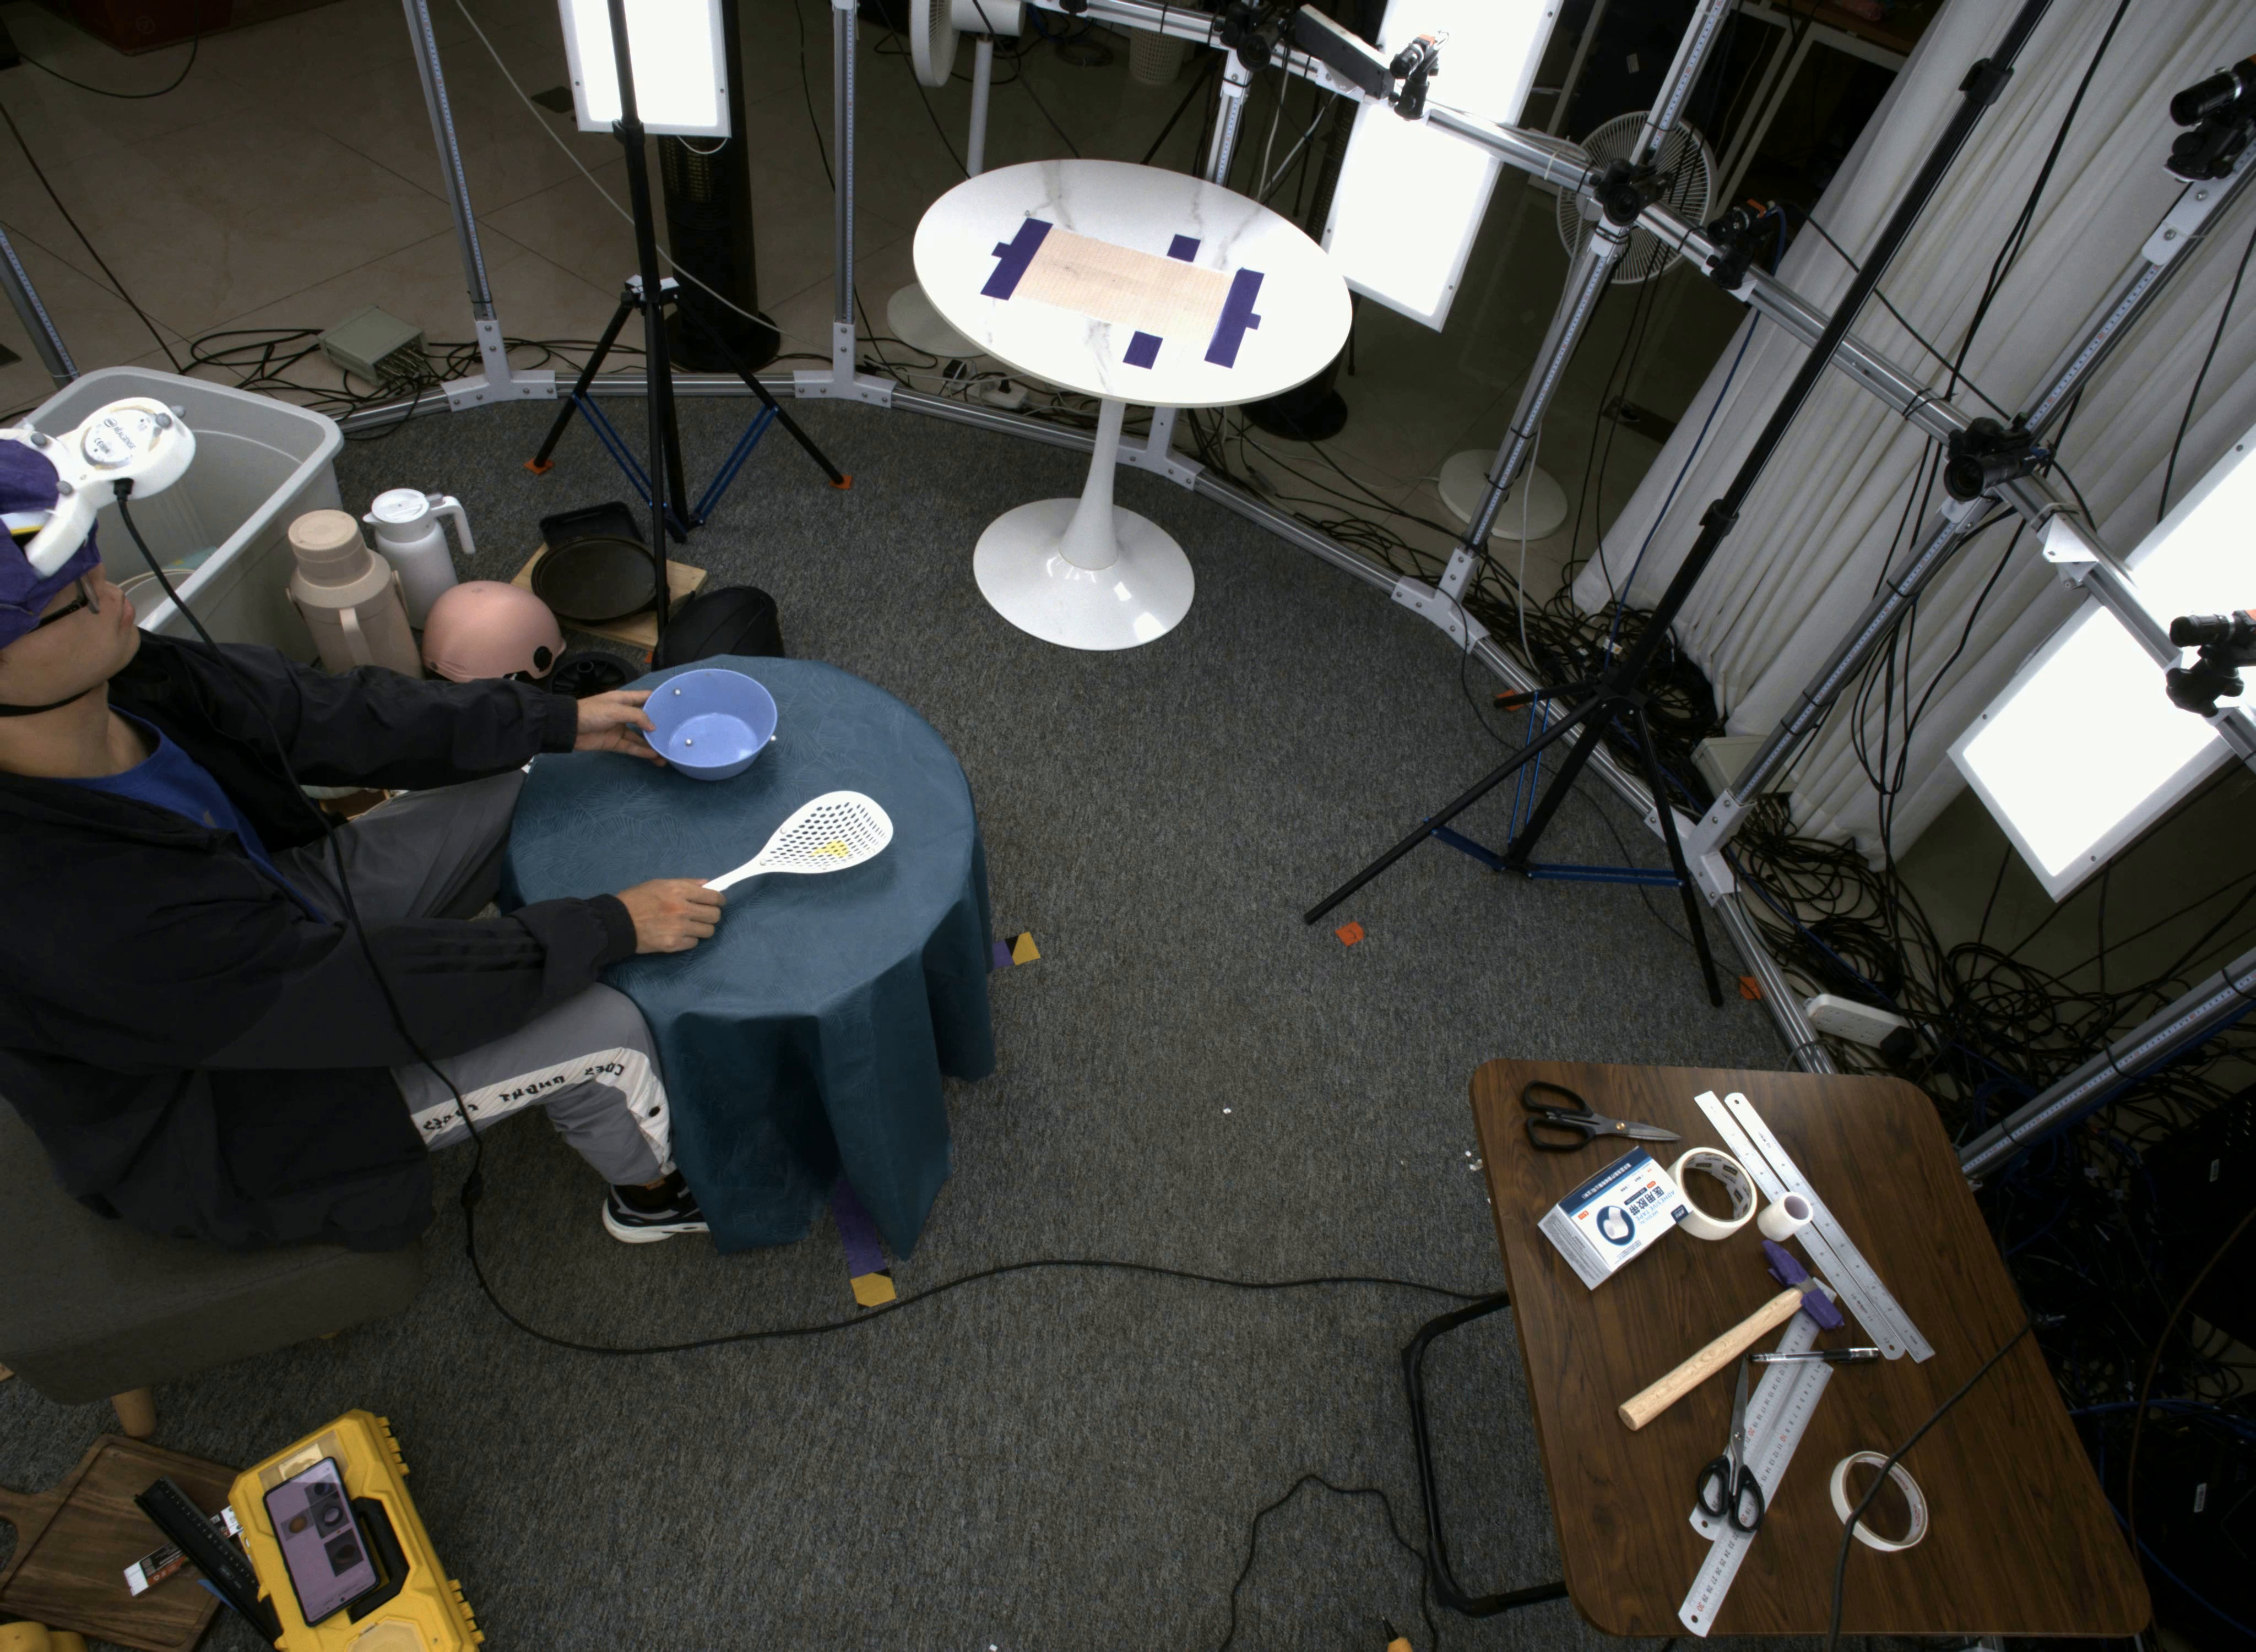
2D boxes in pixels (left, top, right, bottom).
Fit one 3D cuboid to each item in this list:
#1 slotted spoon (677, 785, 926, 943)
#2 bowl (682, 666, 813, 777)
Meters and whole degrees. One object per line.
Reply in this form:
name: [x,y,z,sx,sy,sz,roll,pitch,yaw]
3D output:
slotted spoon: [-0.422,0.052,1.664,0.349,0.051,0.132,-26,57,-30]
bowl: [-0.517,-0.133,1.763,0.175,0.072,0.173,8,52,-8]
